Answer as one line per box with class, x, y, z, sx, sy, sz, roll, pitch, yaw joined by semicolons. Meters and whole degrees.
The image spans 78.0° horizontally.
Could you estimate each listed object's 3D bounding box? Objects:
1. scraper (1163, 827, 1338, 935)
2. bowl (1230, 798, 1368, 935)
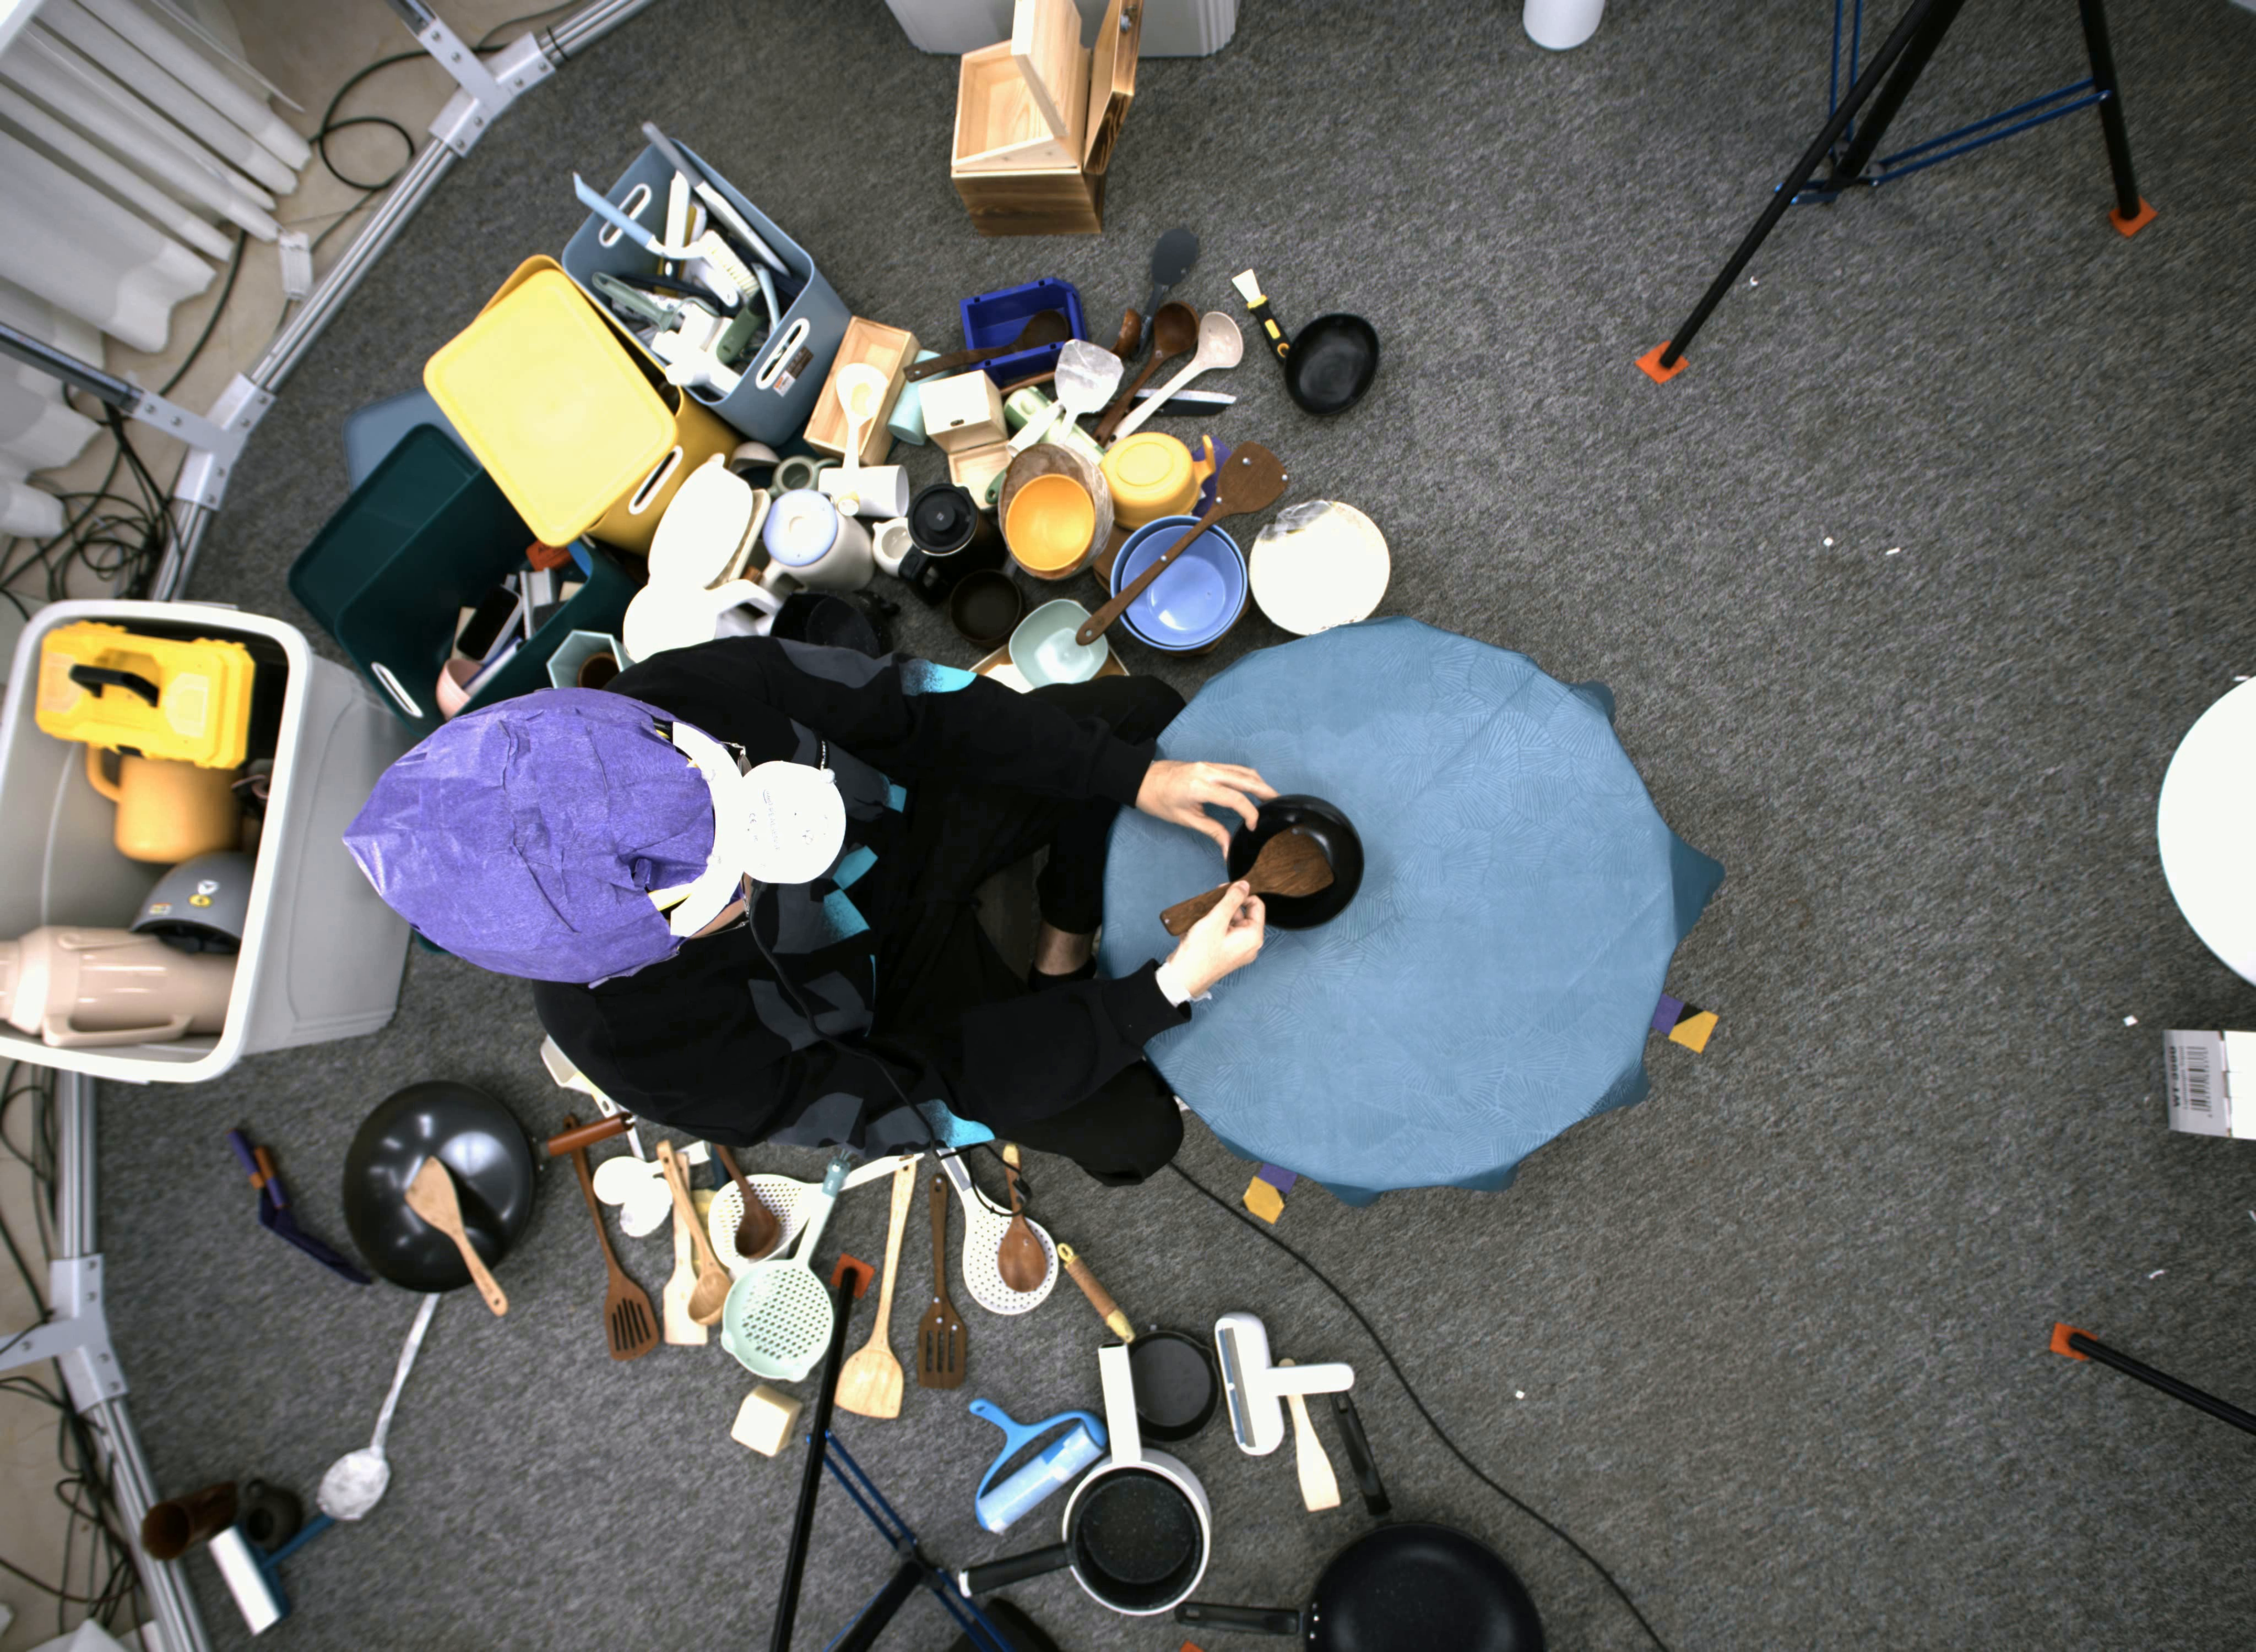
scraper;0.120;0.062;1.379;0.208;0.011;0.075;-22;76;-32
bowl;0.175;0.040;1.419;0.140;0.049;0.140;0;92;11
